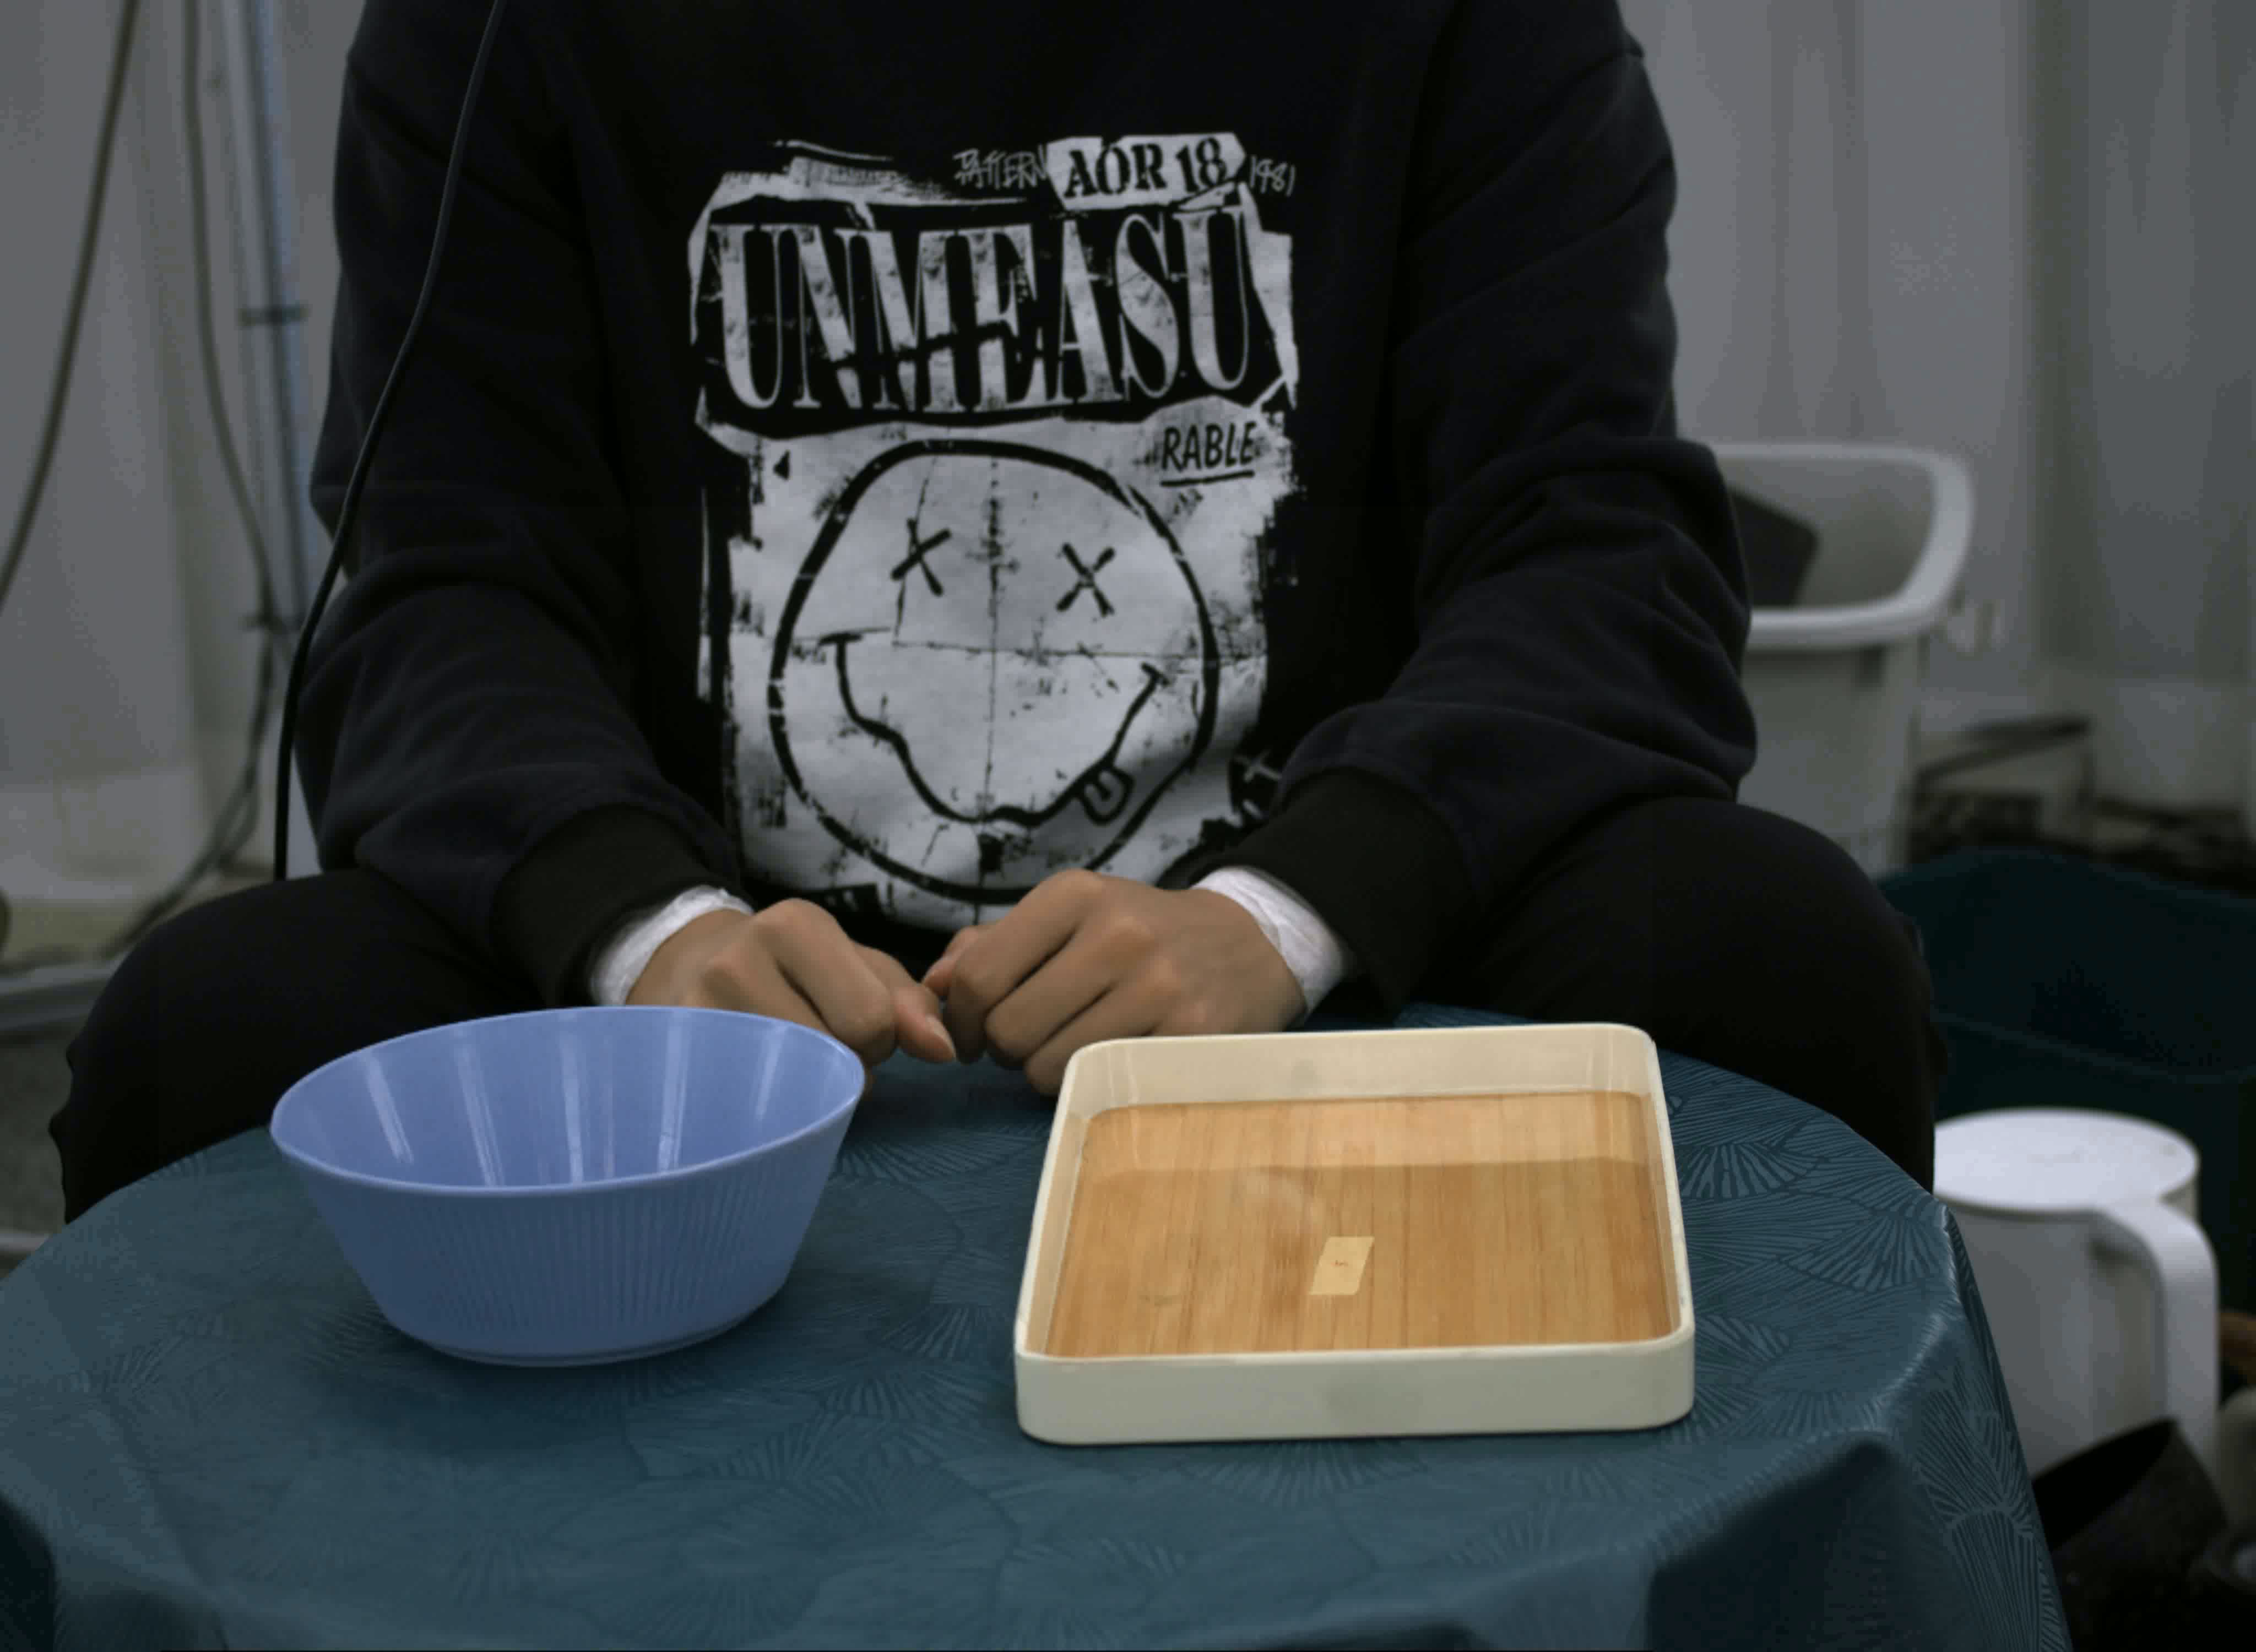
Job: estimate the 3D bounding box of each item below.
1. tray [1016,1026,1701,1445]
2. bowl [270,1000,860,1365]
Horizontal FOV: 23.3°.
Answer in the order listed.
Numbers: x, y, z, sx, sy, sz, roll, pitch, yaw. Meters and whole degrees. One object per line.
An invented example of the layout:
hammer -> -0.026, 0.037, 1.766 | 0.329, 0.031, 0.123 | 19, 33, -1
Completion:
tray -> 0.070, 0.119, 1.637 | 0.191, 0.027, 0.302 | -2, 15, 4
bowl -> -0.165, 0.109, 1.630 | 0.175, 0.070, 0.177 | -2, 16, 0
